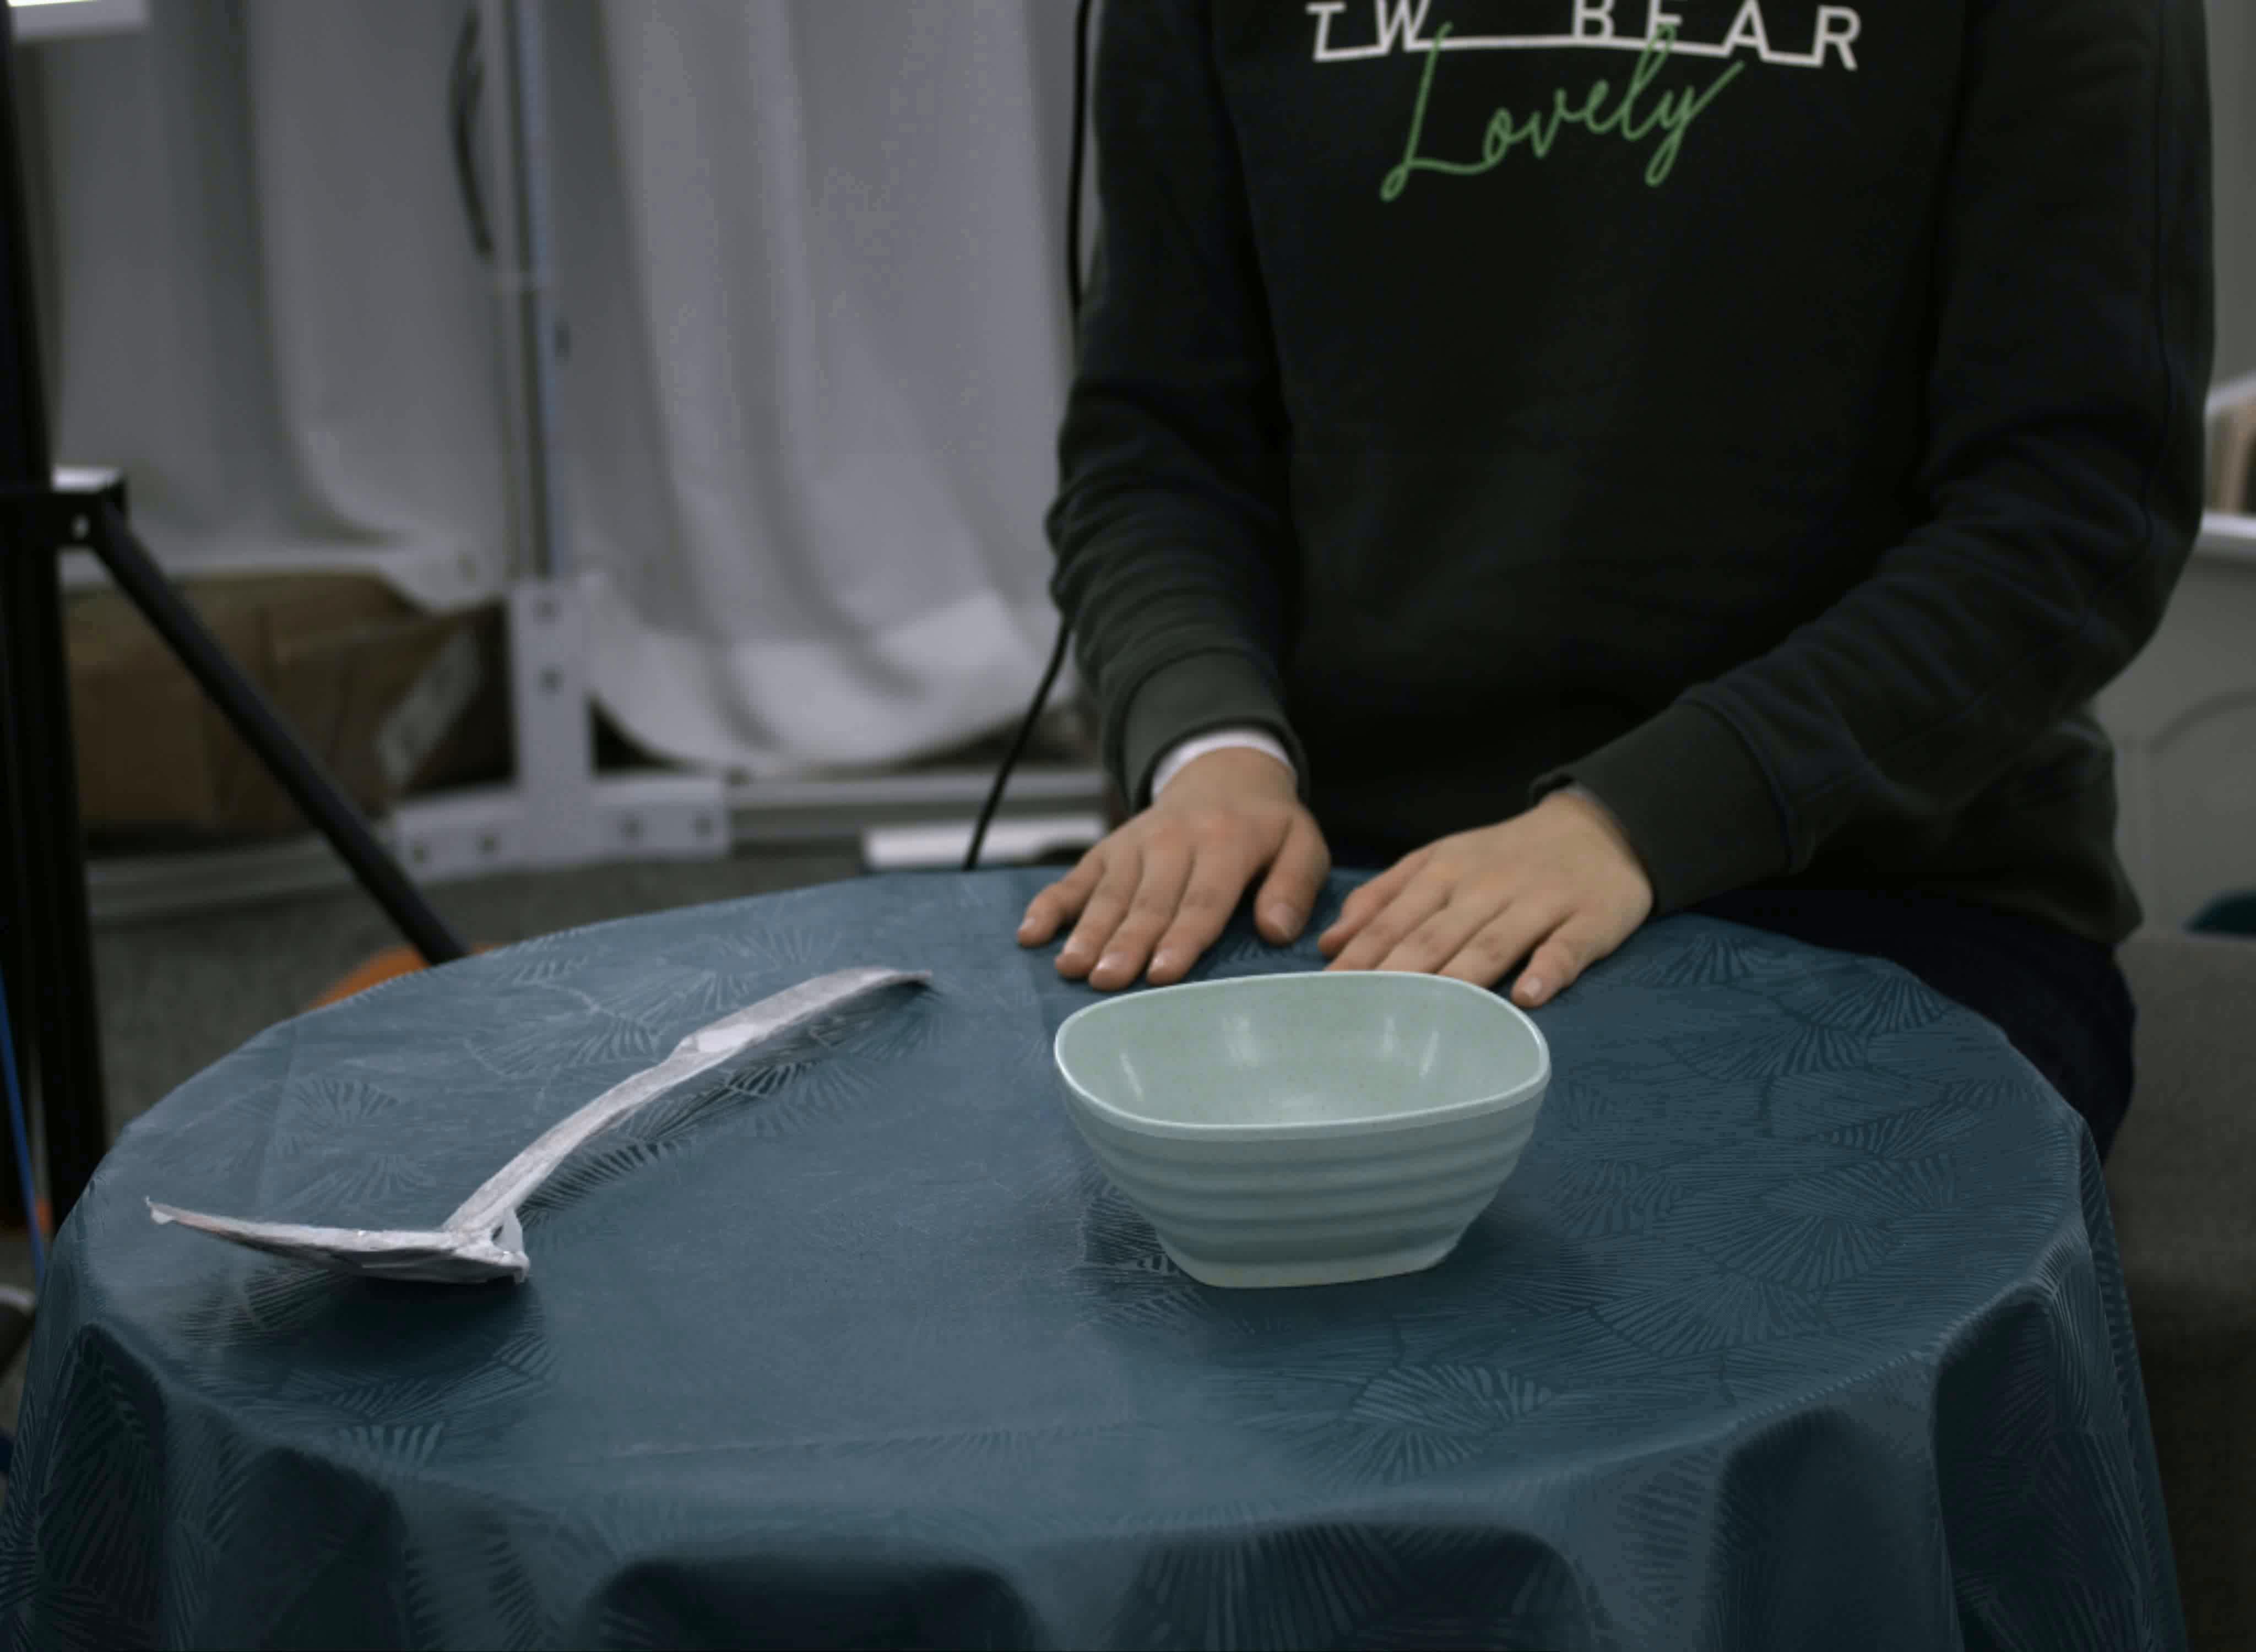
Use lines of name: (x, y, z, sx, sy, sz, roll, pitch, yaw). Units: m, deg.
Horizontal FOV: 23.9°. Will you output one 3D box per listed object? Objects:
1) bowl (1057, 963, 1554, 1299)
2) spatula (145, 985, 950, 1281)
bowl: (0.051, 0.091, 1.510, 0.151, 0.058, 0.152, -3, 18, 0)
spatula: (-0.153, 0.082, 1.603, 0.100, 0.045, 0.359, 4, 17, 28)
